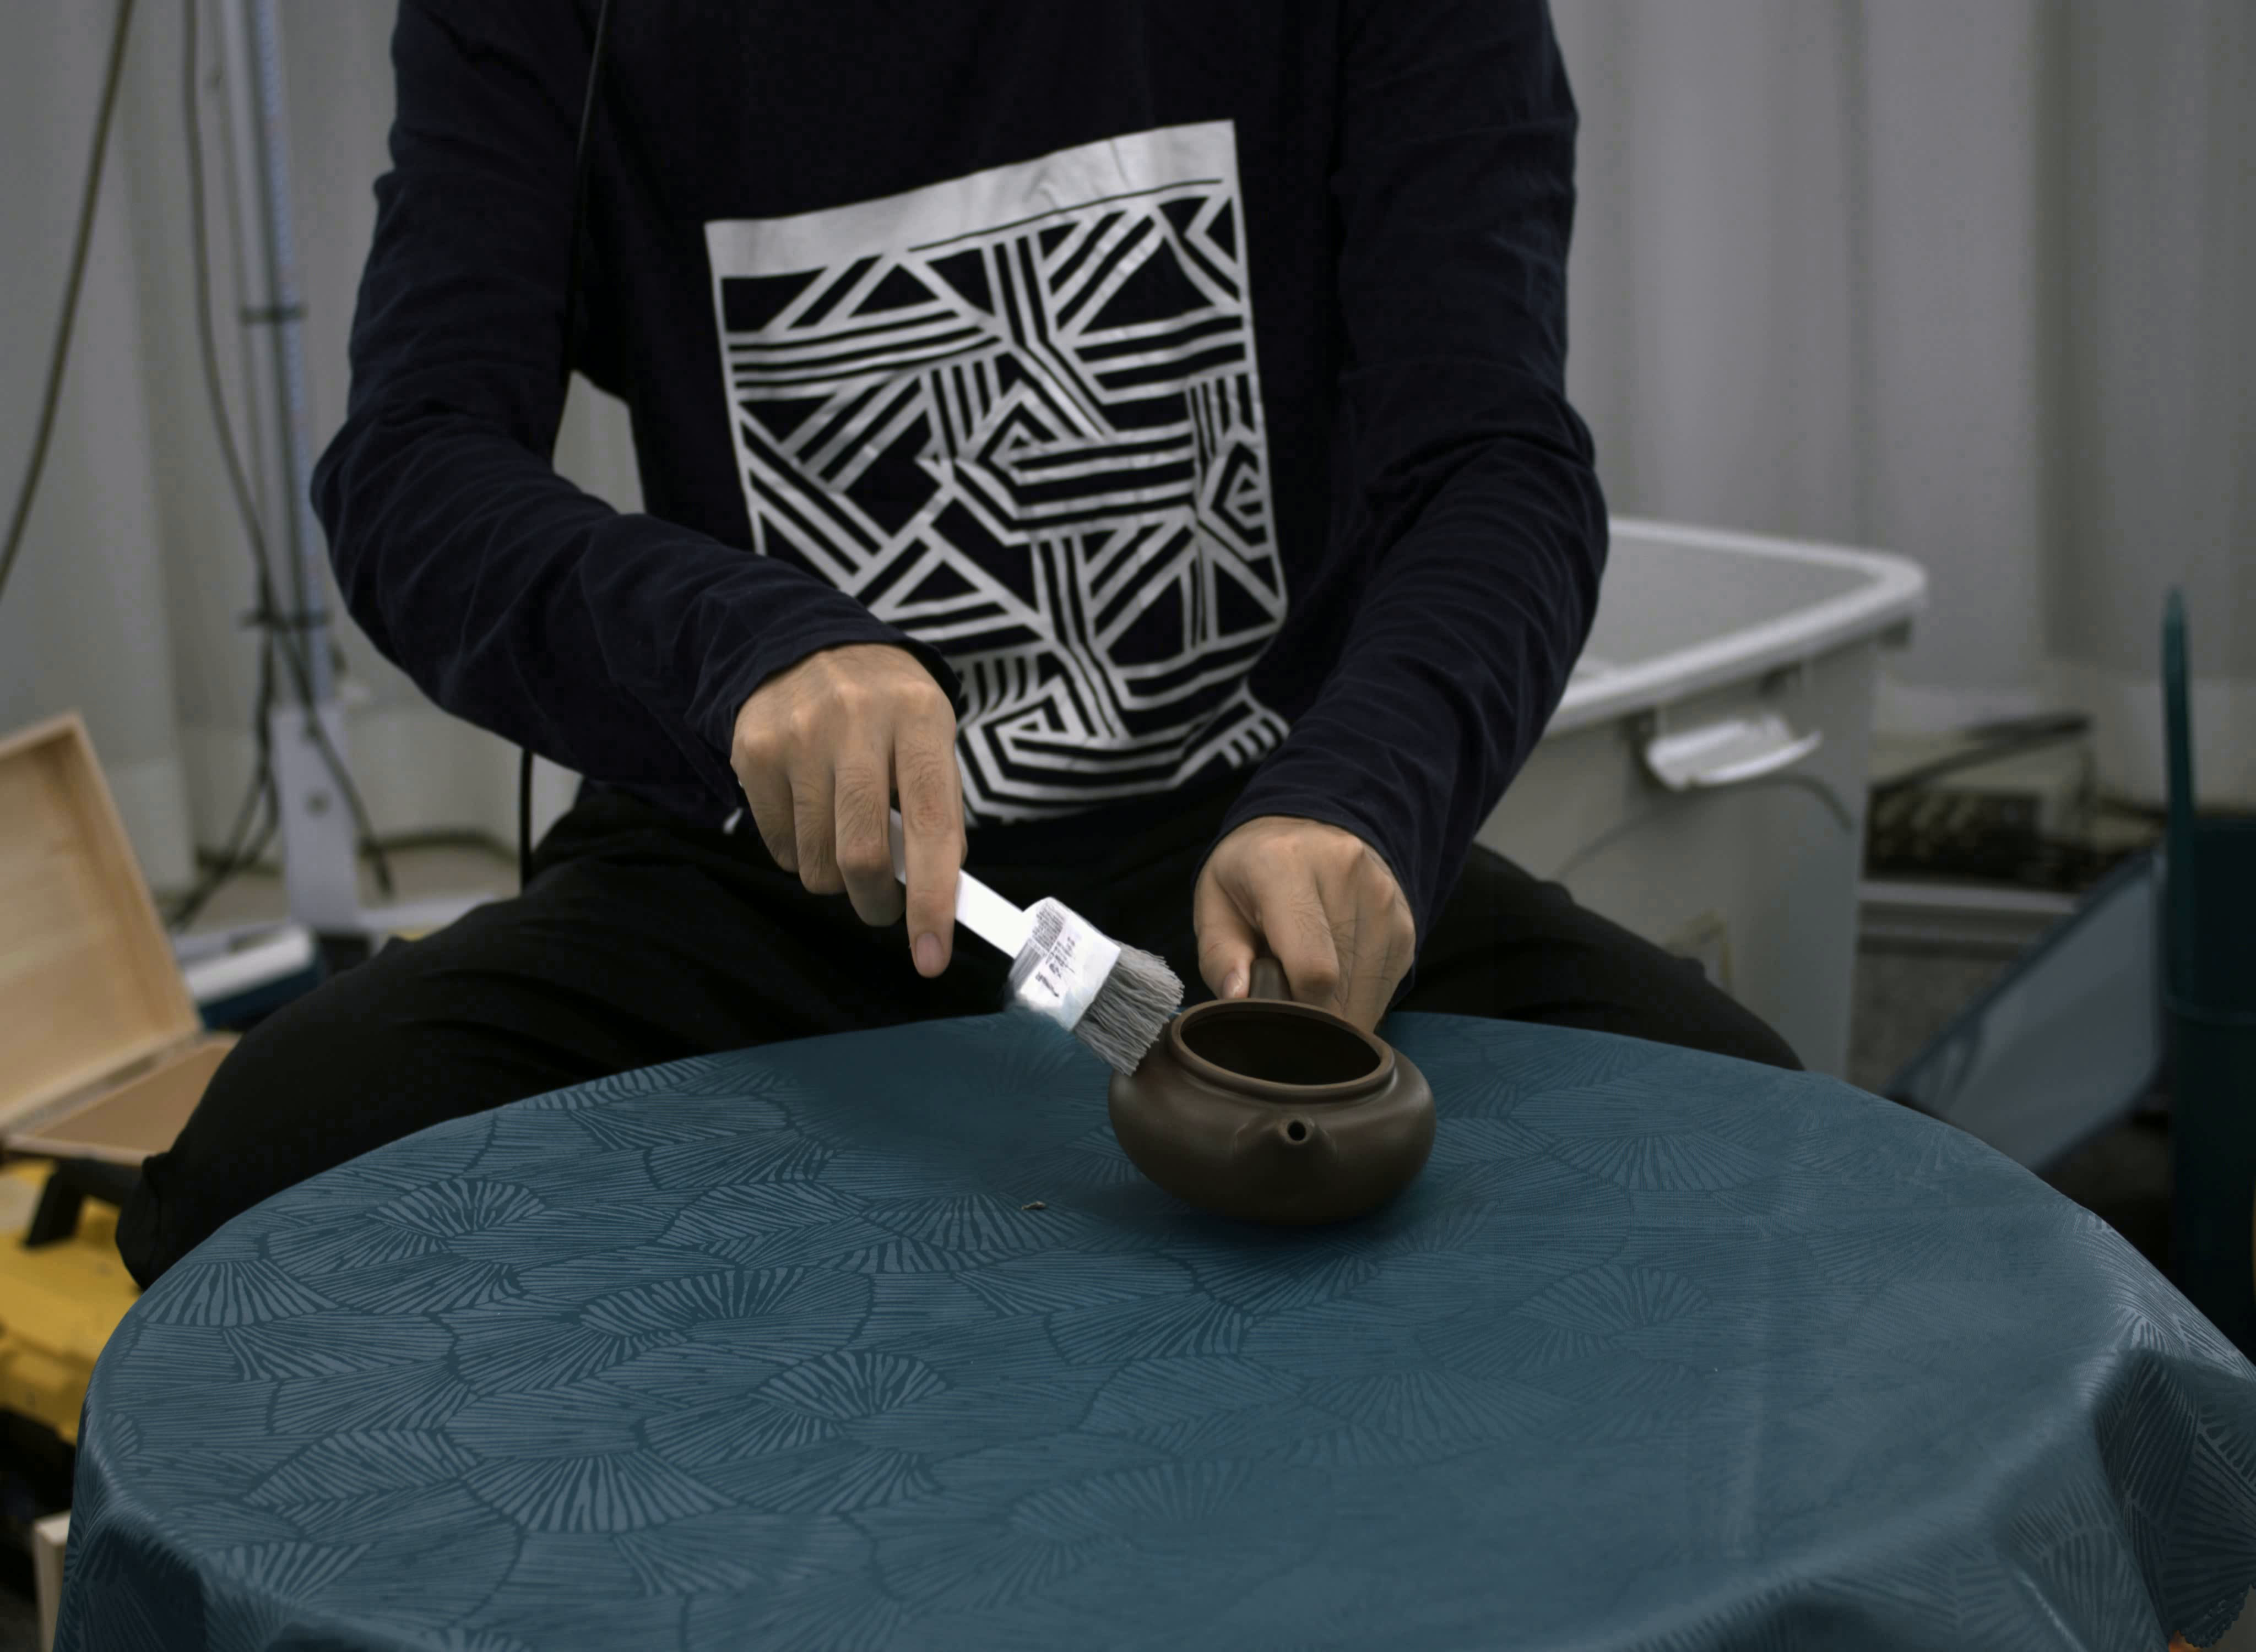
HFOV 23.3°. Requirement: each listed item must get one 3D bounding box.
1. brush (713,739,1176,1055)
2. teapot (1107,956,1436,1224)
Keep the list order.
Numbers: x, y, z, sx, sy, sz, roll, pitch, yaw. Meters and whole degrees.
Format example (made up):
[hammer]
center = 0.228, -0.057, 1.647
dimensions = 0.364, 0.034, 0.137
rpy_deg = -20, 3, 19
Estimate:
[brush]
center = -0.060, 0.021, 1.768
dimensions = 0.049, 0.034, 0.246
rpy_deg = 30, -1, -36
[teapot]
center = 0.044, 0.085, 1.696
dimensions = 0.102, 0.053, 0.155
rpy_deg = 3, 21, -9
